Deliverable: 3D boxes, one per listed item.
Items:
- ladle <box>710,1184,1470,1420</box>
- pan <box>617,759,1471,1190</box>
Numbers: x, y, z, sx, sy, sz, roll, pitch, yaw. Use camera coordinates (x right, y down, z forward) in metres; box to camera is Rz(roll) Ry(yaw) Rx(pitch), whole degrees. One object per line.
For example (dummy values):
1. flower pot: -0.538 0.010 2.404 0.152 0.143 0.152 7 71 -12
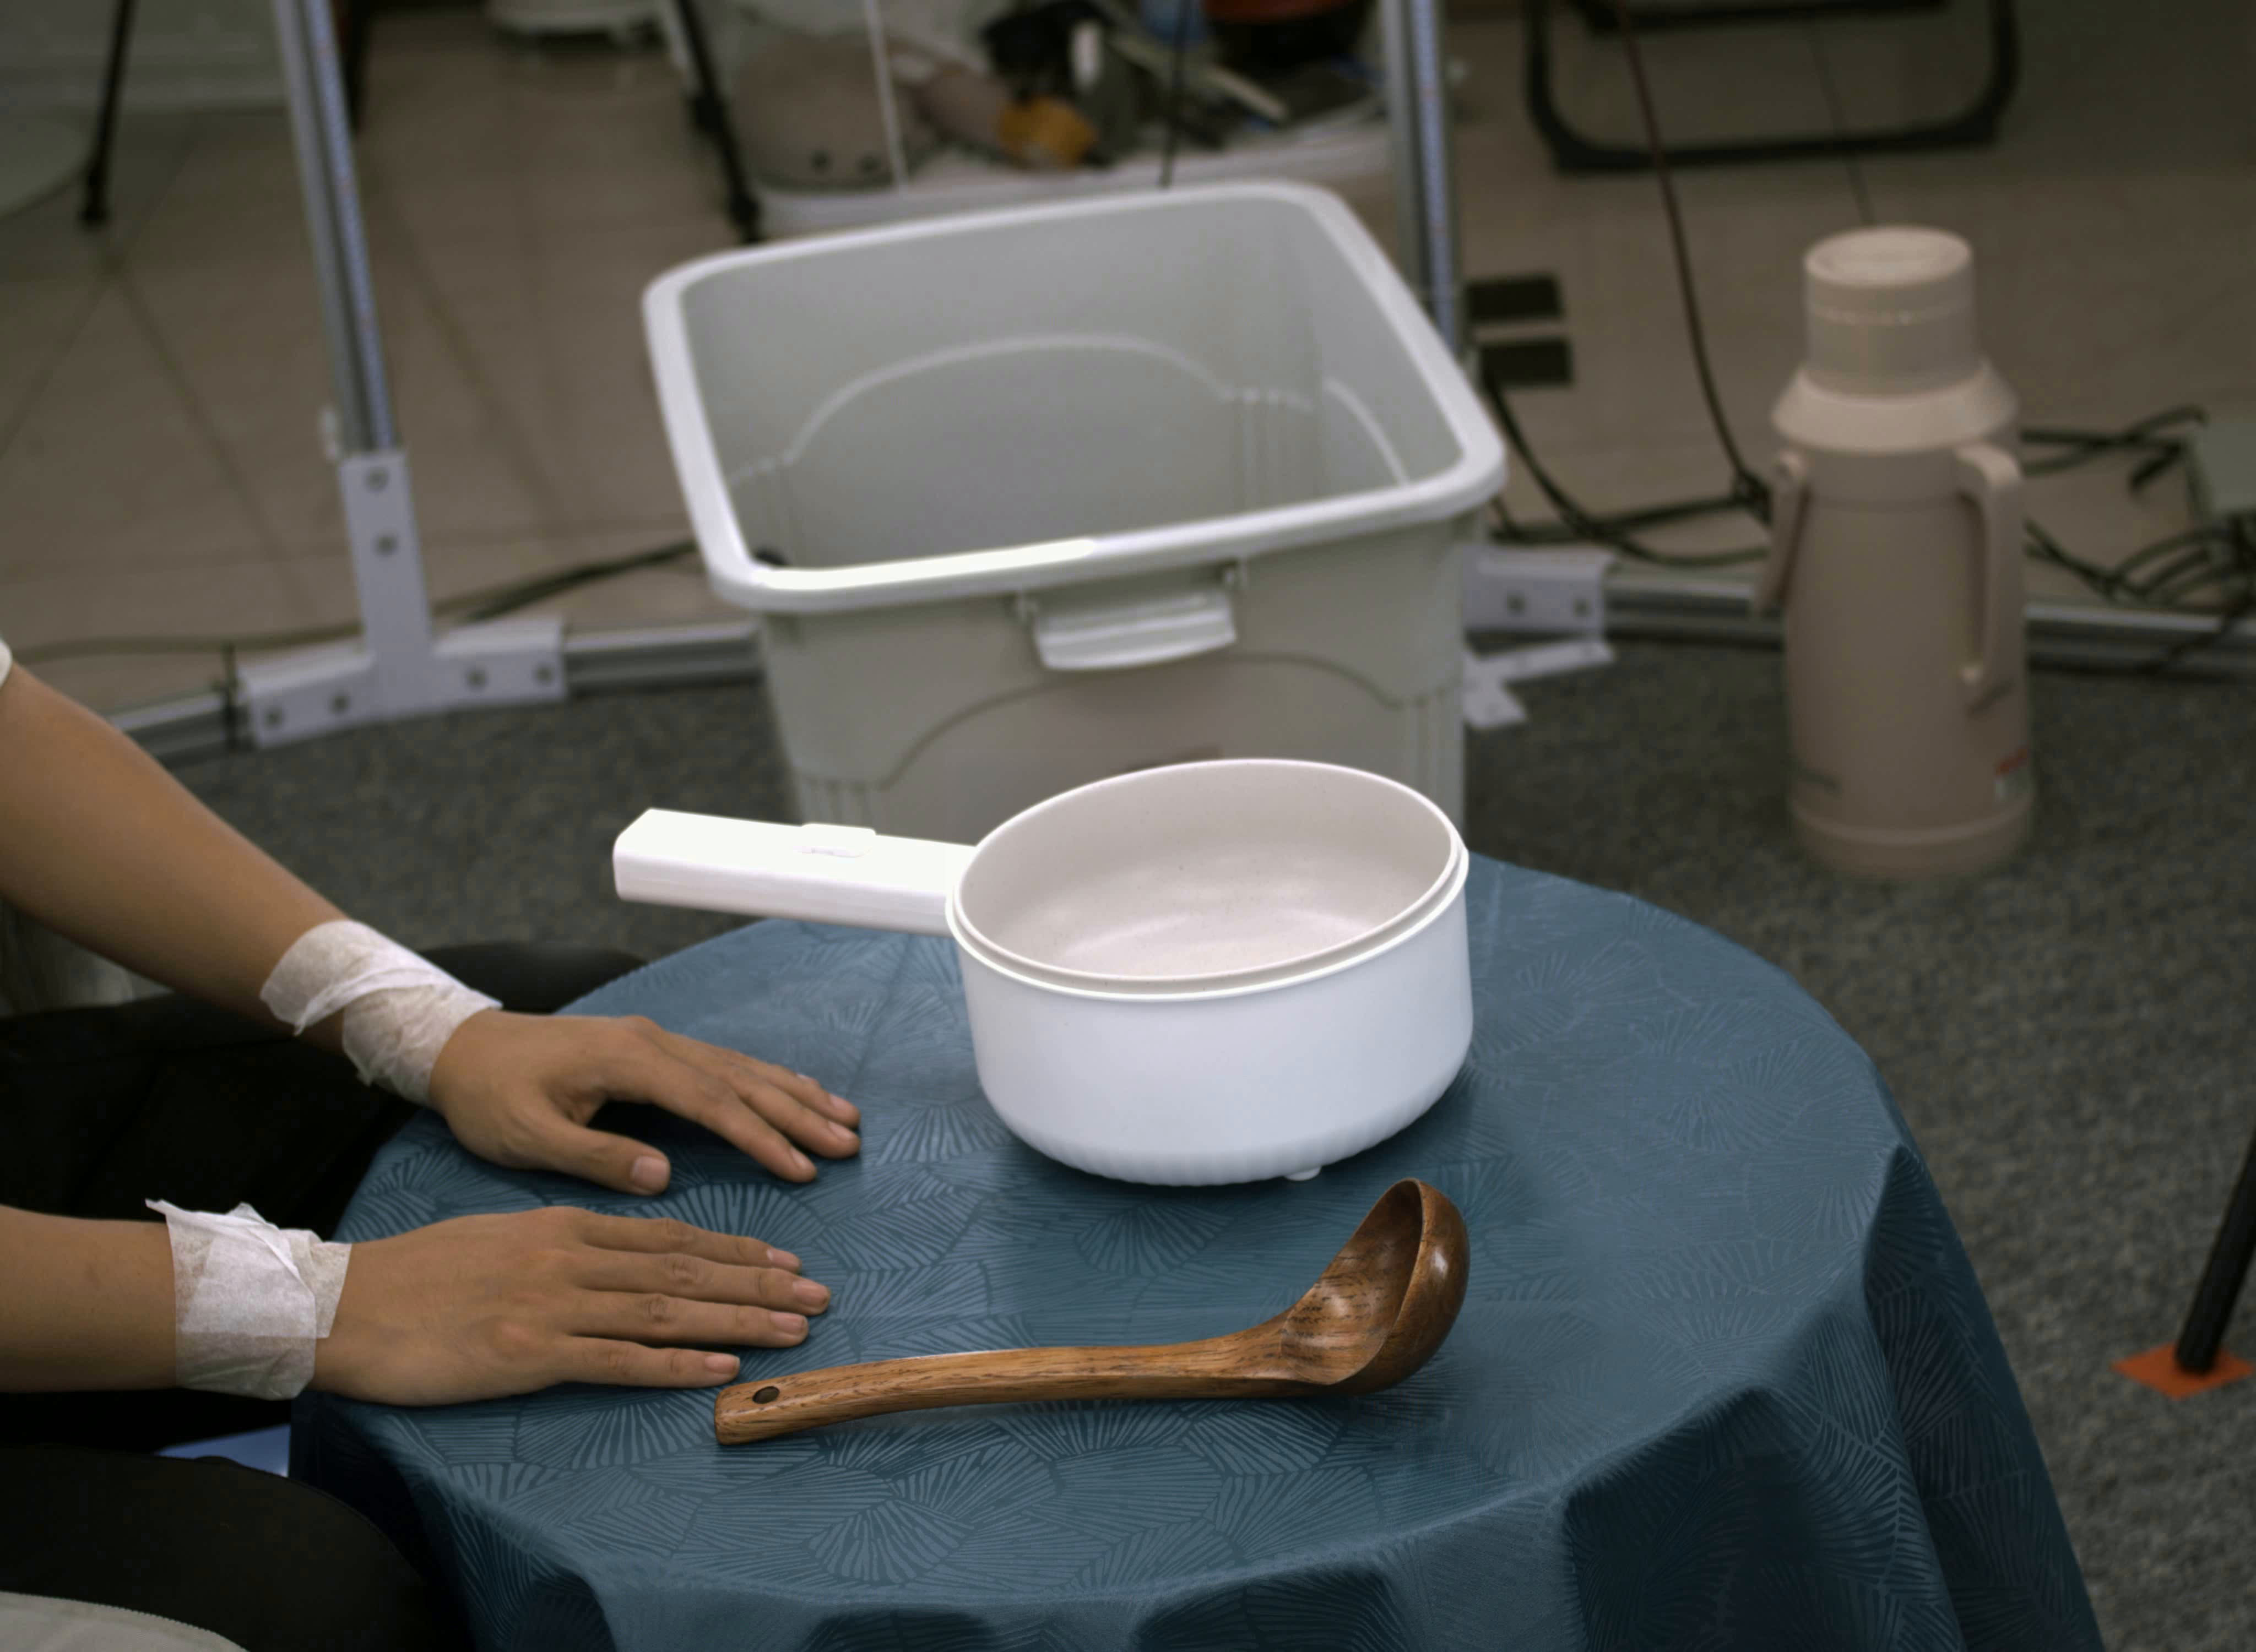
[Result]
1. ladle: -0.016 0.170 1.994 0.273 0.078 0.080 -2 28 6
2. pan: -0.035 0.055 2.223 0.353 0.104 0.198 5 29 25
